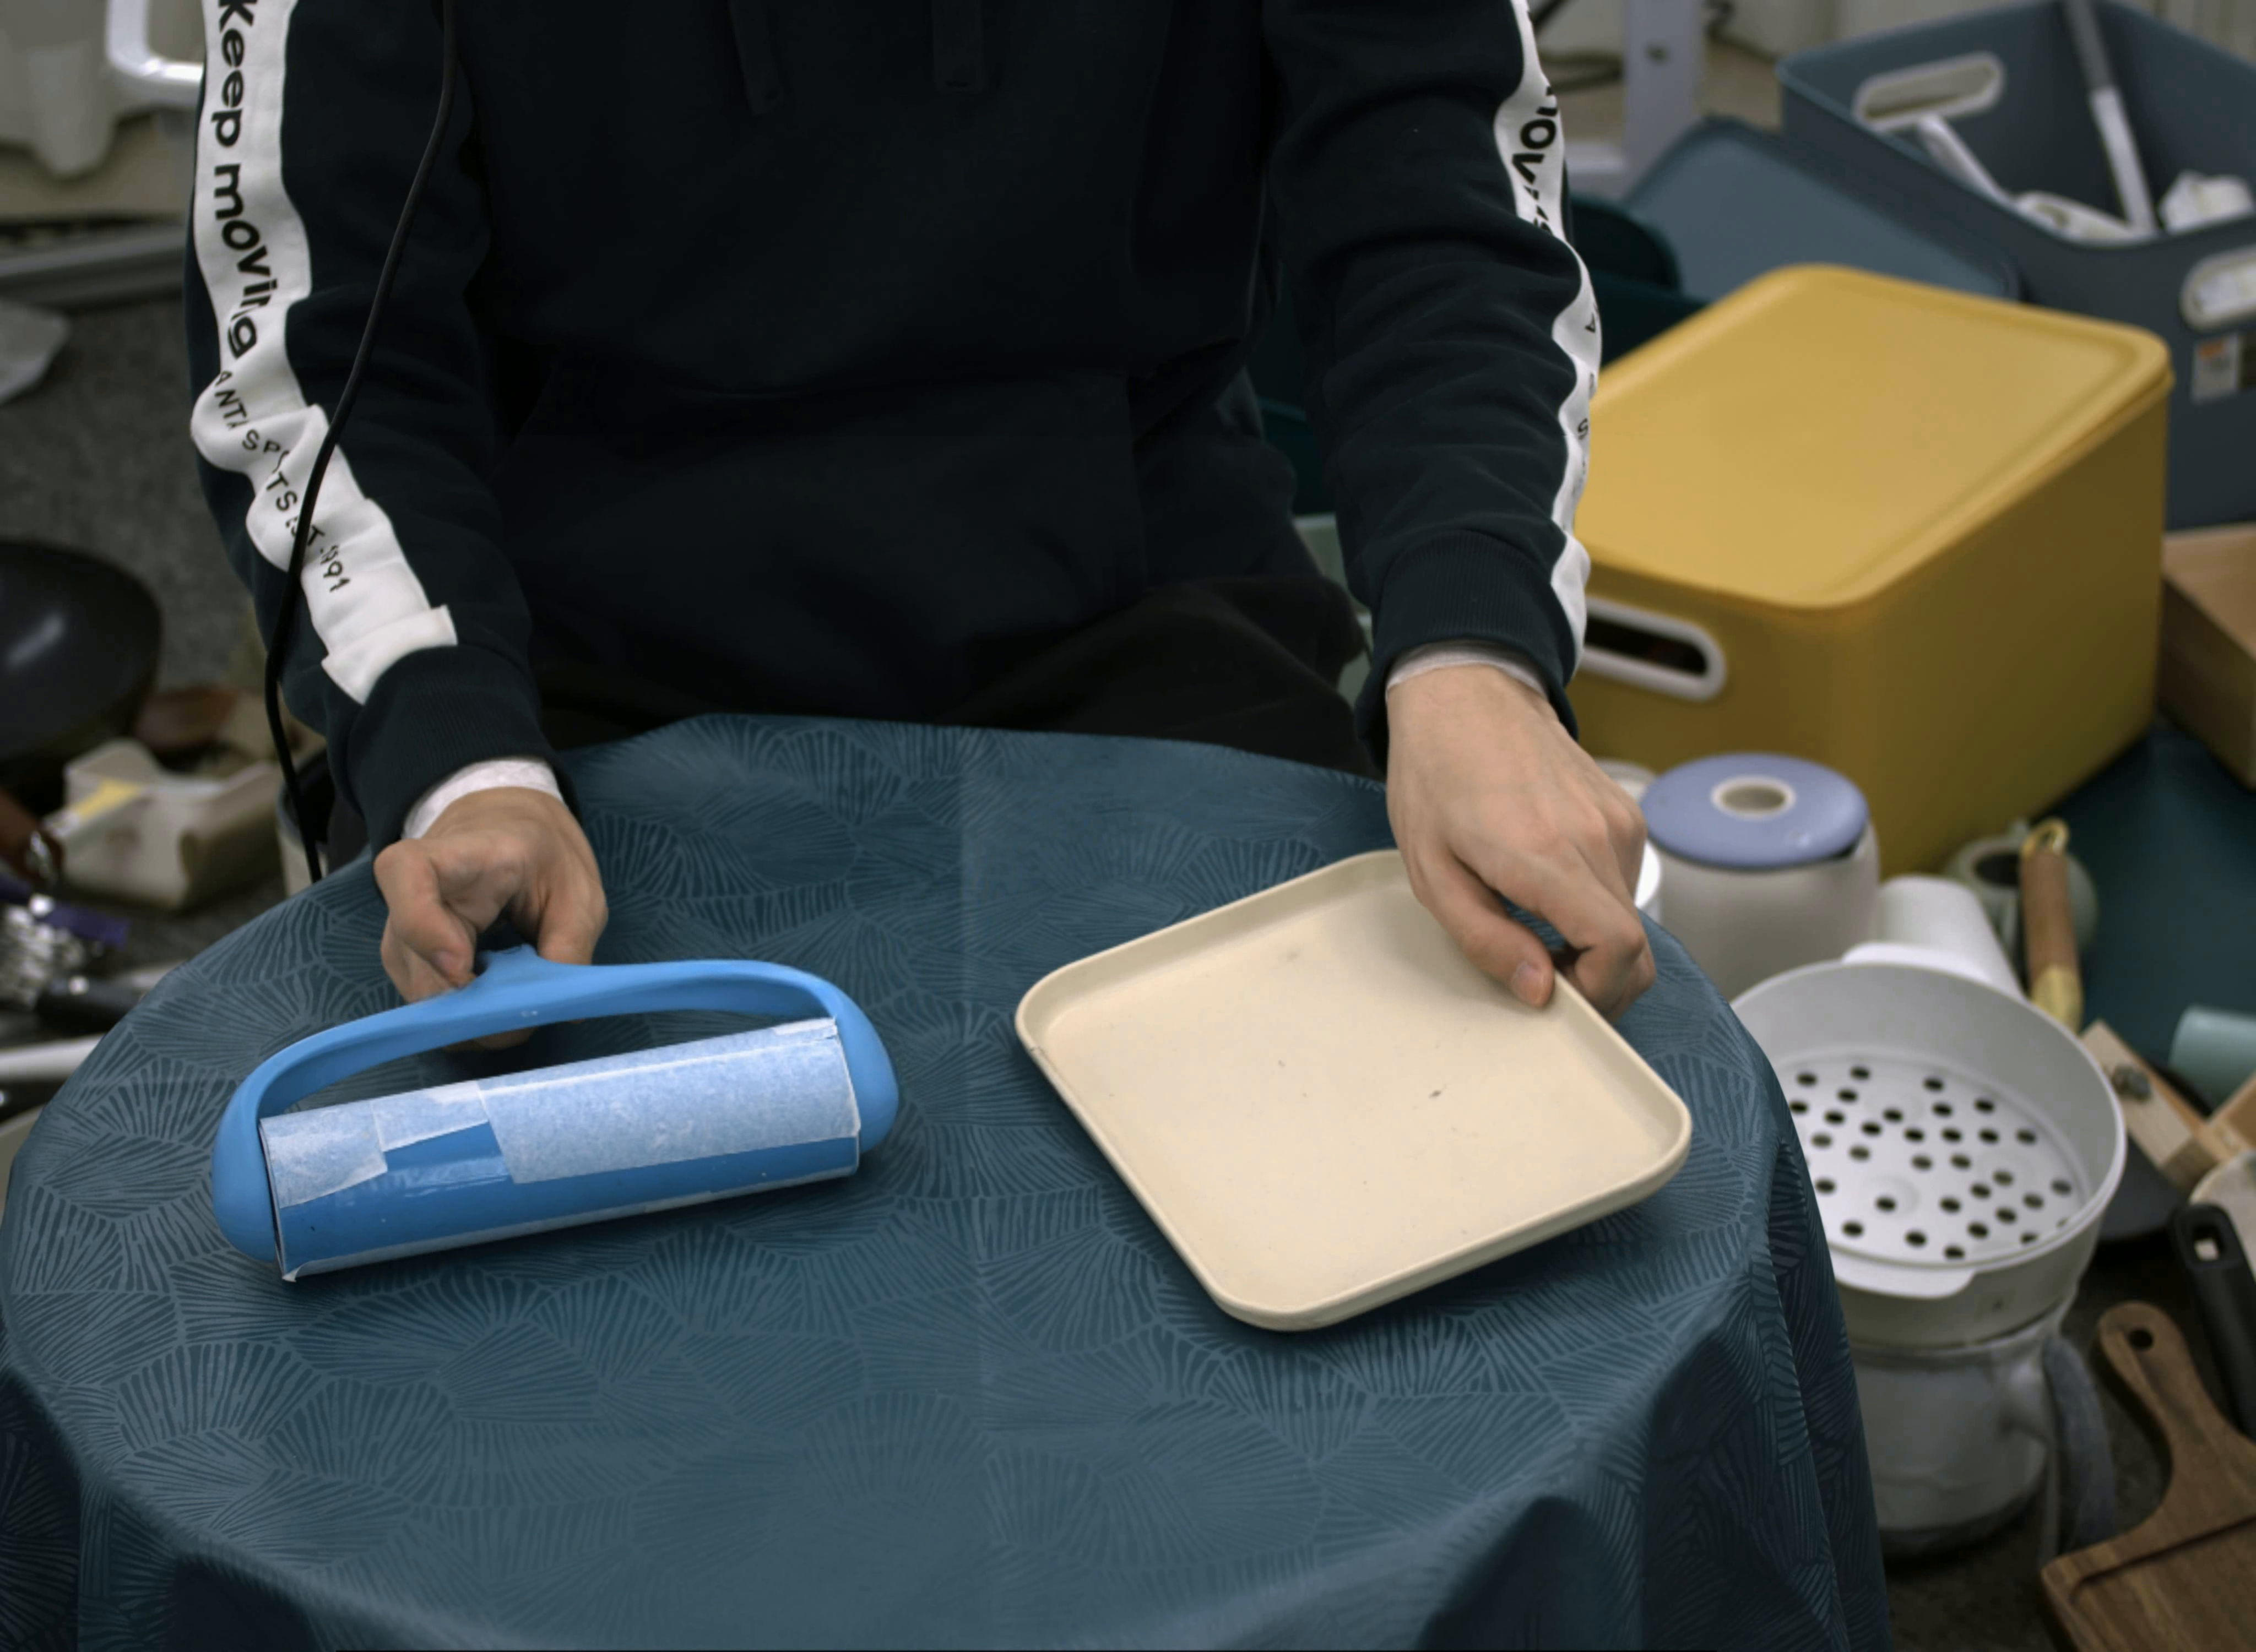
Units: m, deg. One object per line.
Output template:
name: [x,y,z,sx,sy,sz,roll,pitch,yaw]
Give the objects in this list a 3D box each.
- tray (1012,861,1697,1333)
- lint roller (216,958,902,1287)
tray: [0.072,0.089,1.878,0.172,0.017,0.241,-19,30,-14]
lint roller: [-0.204,0.080,1.899,0.229,0.067,0.182,-12,30,-14]
